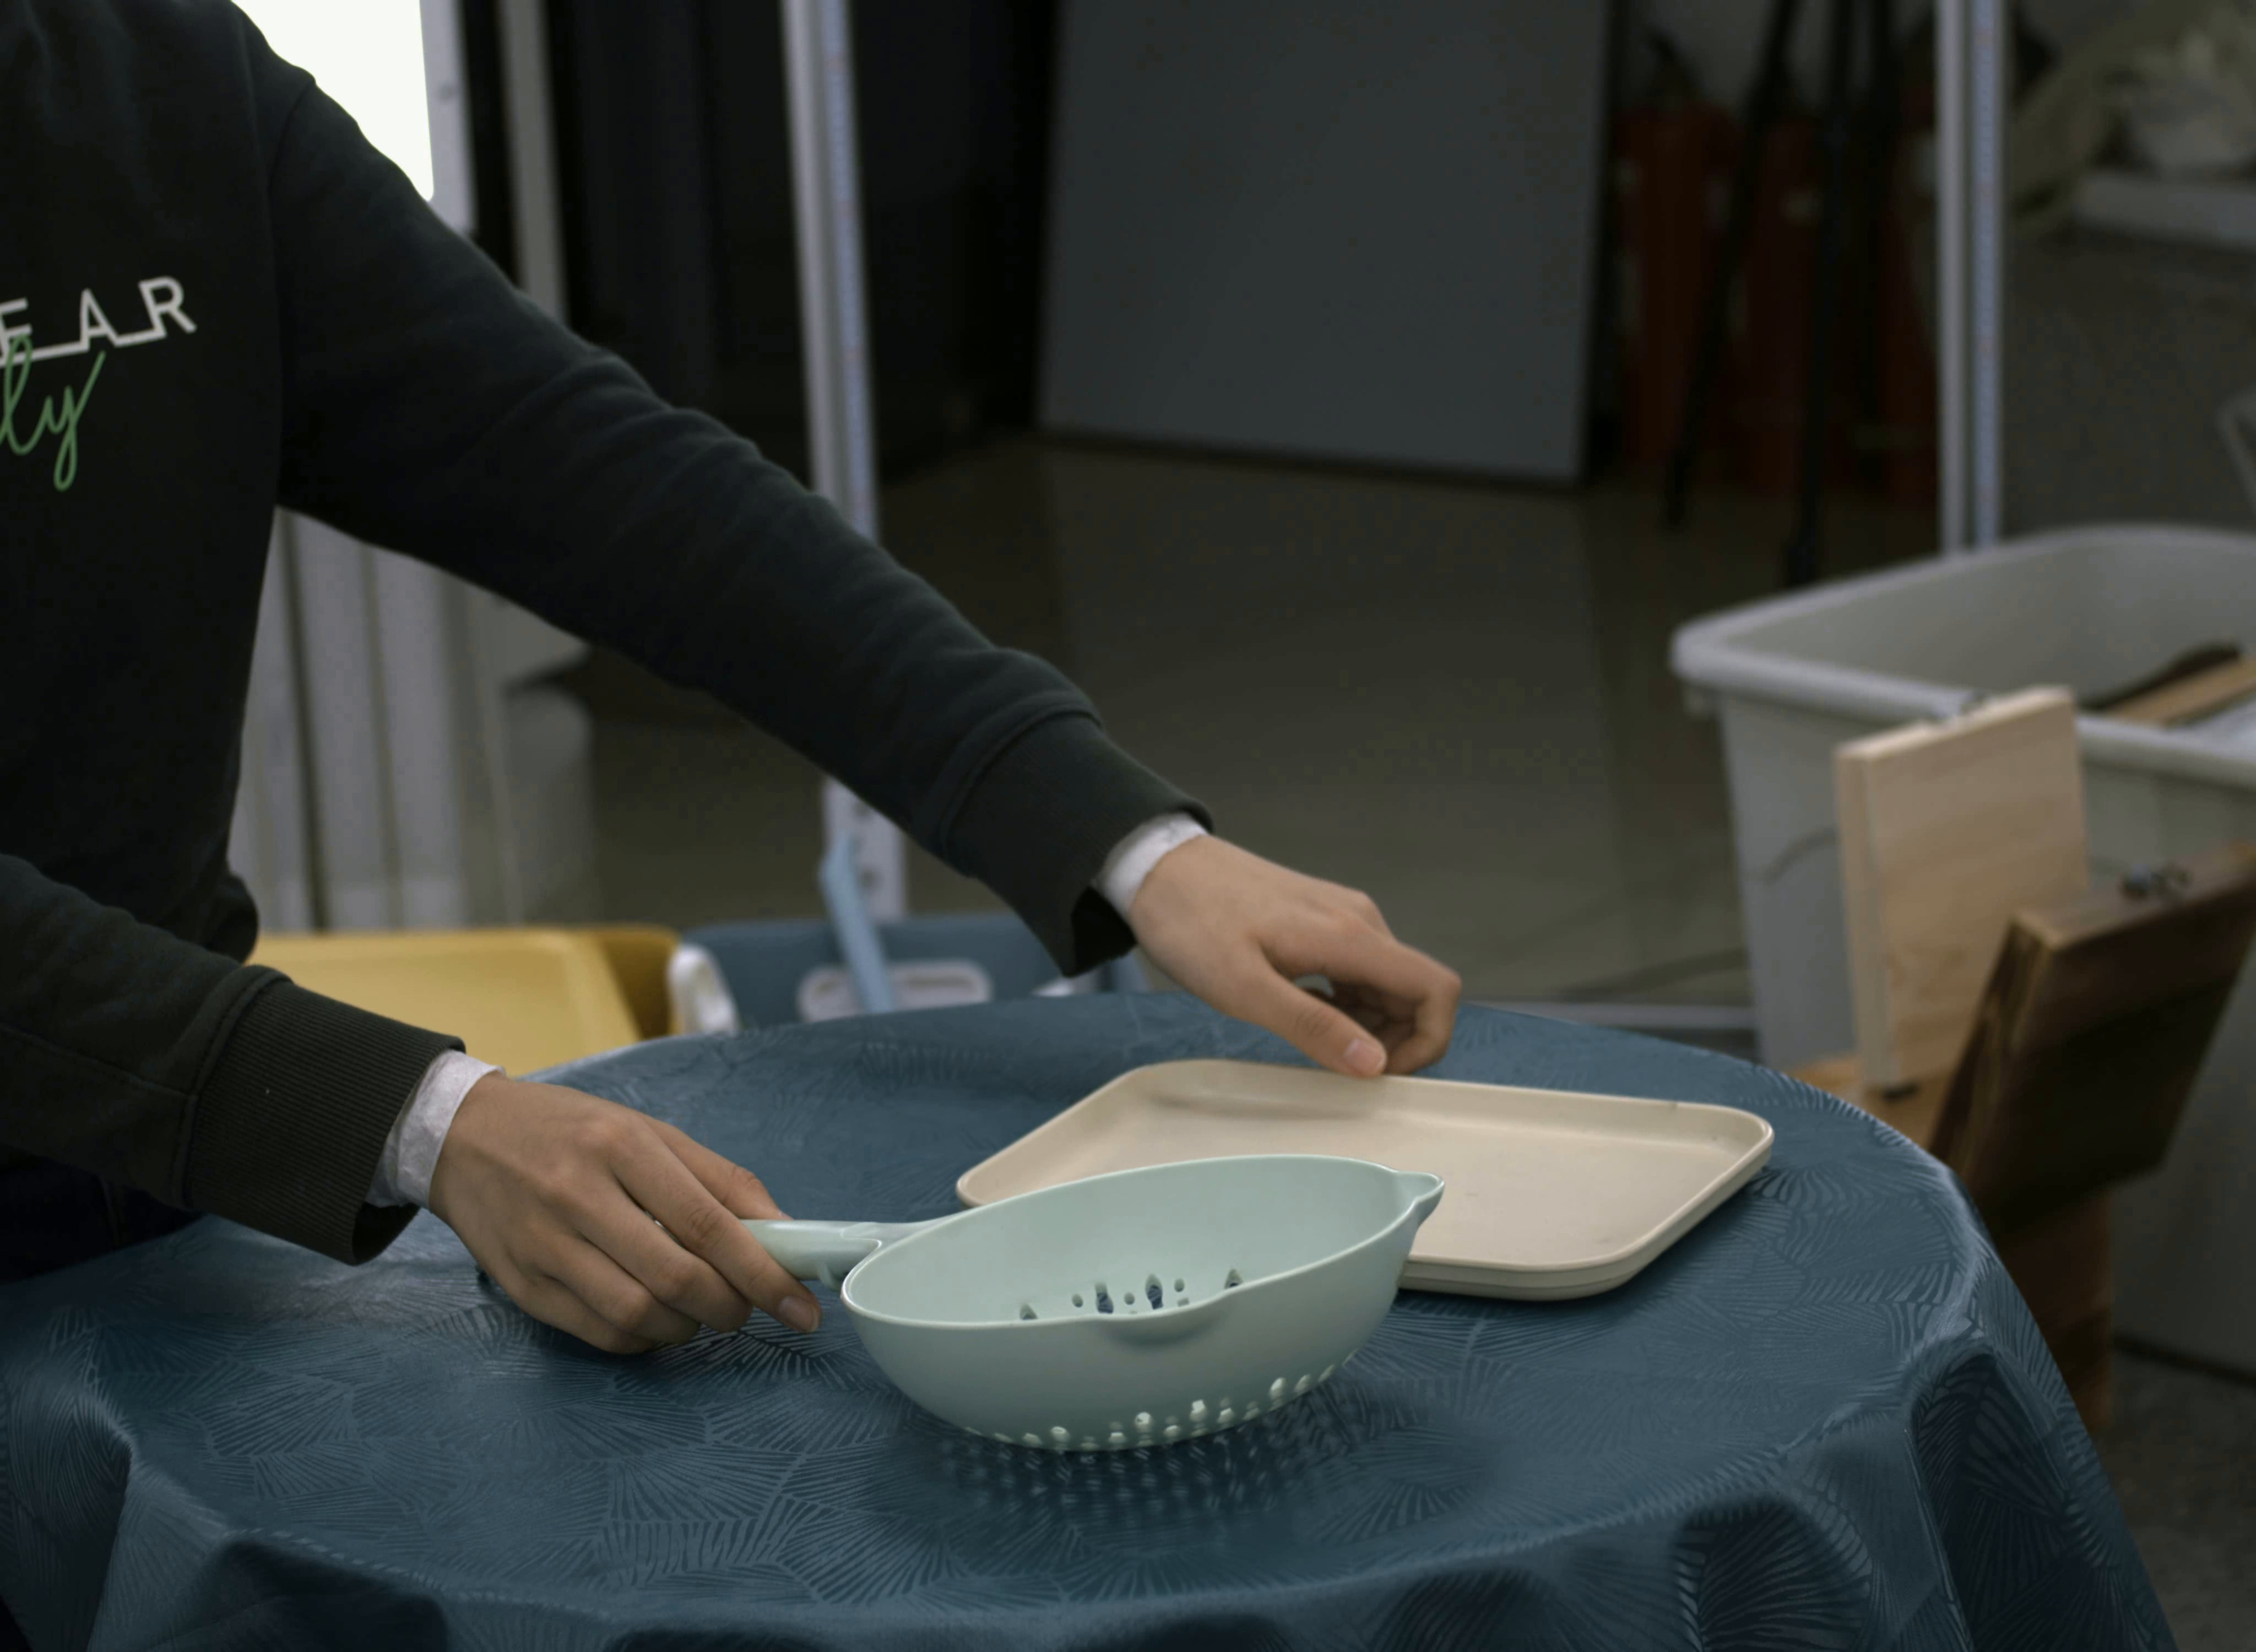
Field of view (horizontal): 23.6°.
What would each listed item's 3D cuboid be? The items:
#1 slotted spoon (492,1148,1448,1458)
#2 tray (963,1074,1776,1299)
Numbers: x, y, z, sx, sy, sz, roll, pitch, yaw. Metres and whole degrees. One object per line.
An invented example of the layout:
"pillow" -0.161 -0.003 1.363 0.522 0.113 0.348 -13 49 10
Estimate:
"slotted spoon" -0.069 0.133 1.610 0.362 0.076 0.166 8 18 41
"tray" 0.079 0.116 1.737 0.240 0.017 0.169 2 15 28
